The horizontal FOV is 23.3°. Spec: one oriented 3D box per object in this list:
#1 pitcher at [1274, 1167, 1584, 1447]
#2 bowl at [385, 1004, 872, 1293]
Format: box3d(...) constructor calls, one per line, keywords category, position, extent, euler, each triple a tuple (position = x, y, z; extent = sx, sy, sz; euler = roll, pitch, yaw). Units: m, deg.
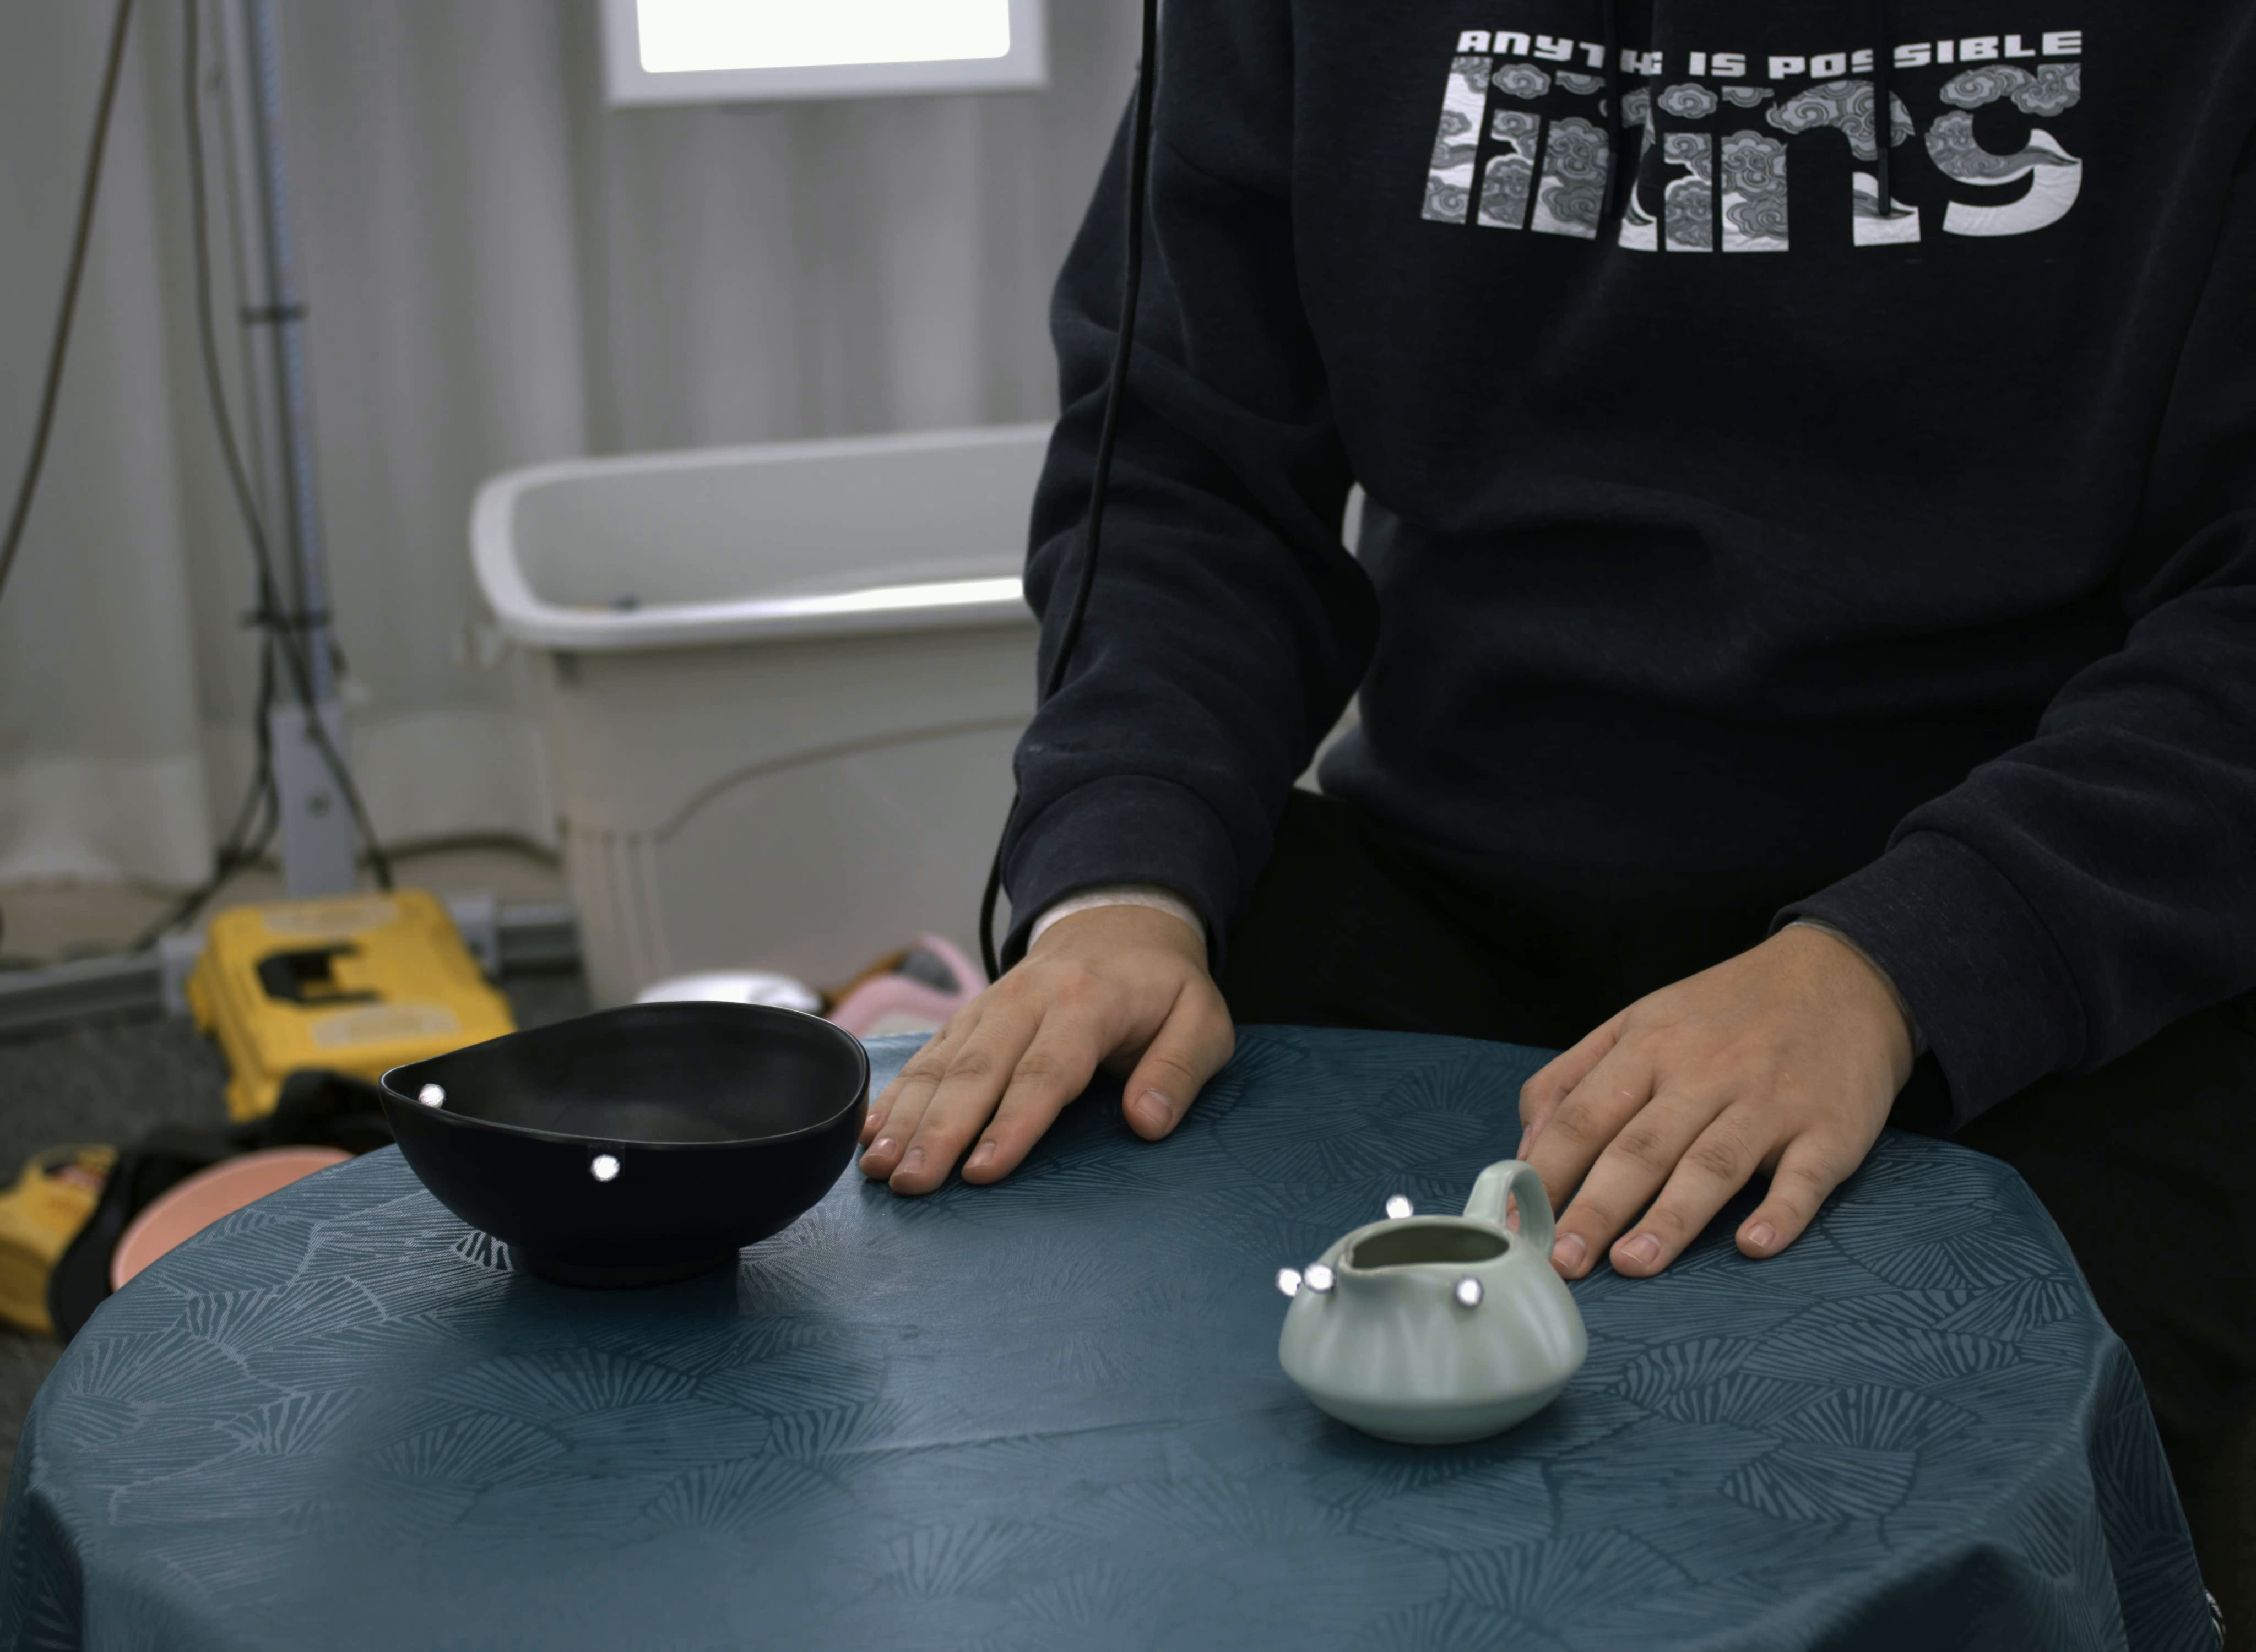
box3d(category="pitcher", position=(0.089, 0.134, 1.522), extent=(0.086, 0.060, 0.108), euler=(7, 15, 29))
box3d(category="bowl", position=(-0.153, 0.102, 1.670), extent=(0.171, 0.066, 0.137), euler=(11, 19, 43))
